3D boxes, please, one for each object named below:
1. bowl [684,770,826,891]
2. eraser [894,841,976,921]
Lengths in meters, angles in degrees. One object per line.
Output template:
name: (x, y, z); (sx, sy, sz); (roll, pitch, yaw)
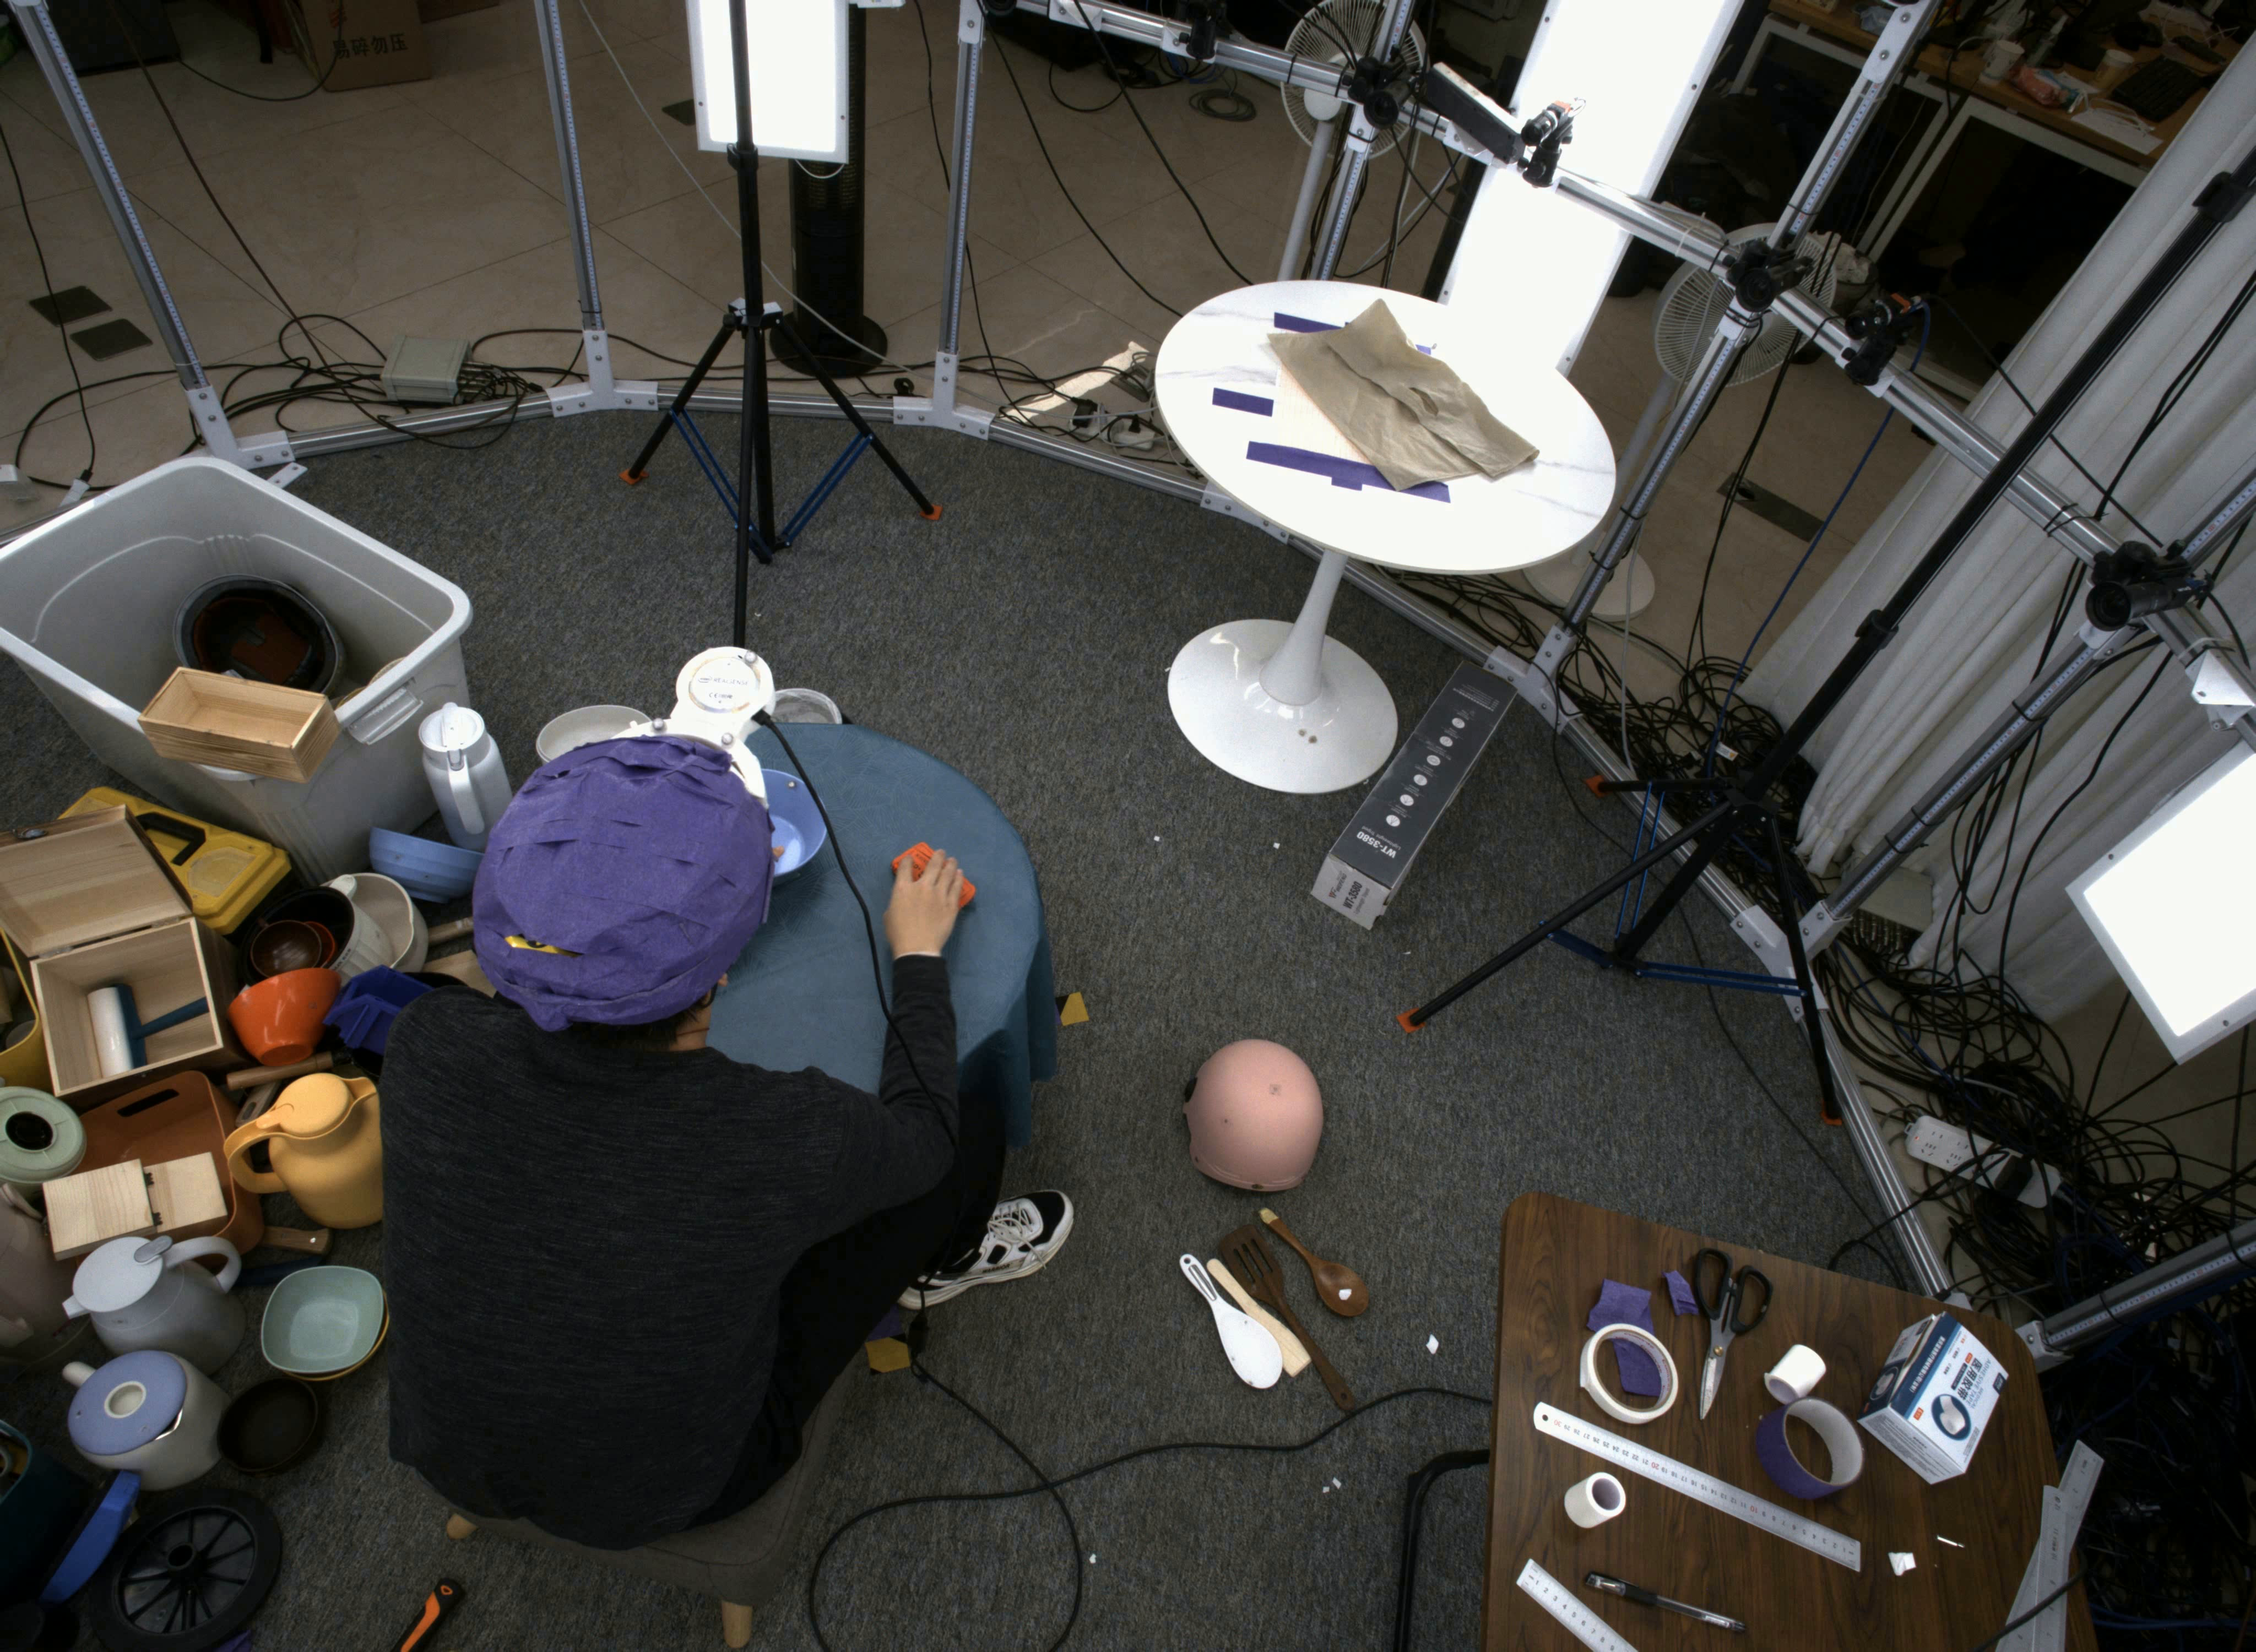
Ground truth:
bowl: (-0.474, 0.014, 1.649); (0.176, 0.071, 0.173); (8, 52, -9)
eraser: (-0.253, 0.069, 1.697); (0.106, 0.023, 0.059); (40, 53, 15)
